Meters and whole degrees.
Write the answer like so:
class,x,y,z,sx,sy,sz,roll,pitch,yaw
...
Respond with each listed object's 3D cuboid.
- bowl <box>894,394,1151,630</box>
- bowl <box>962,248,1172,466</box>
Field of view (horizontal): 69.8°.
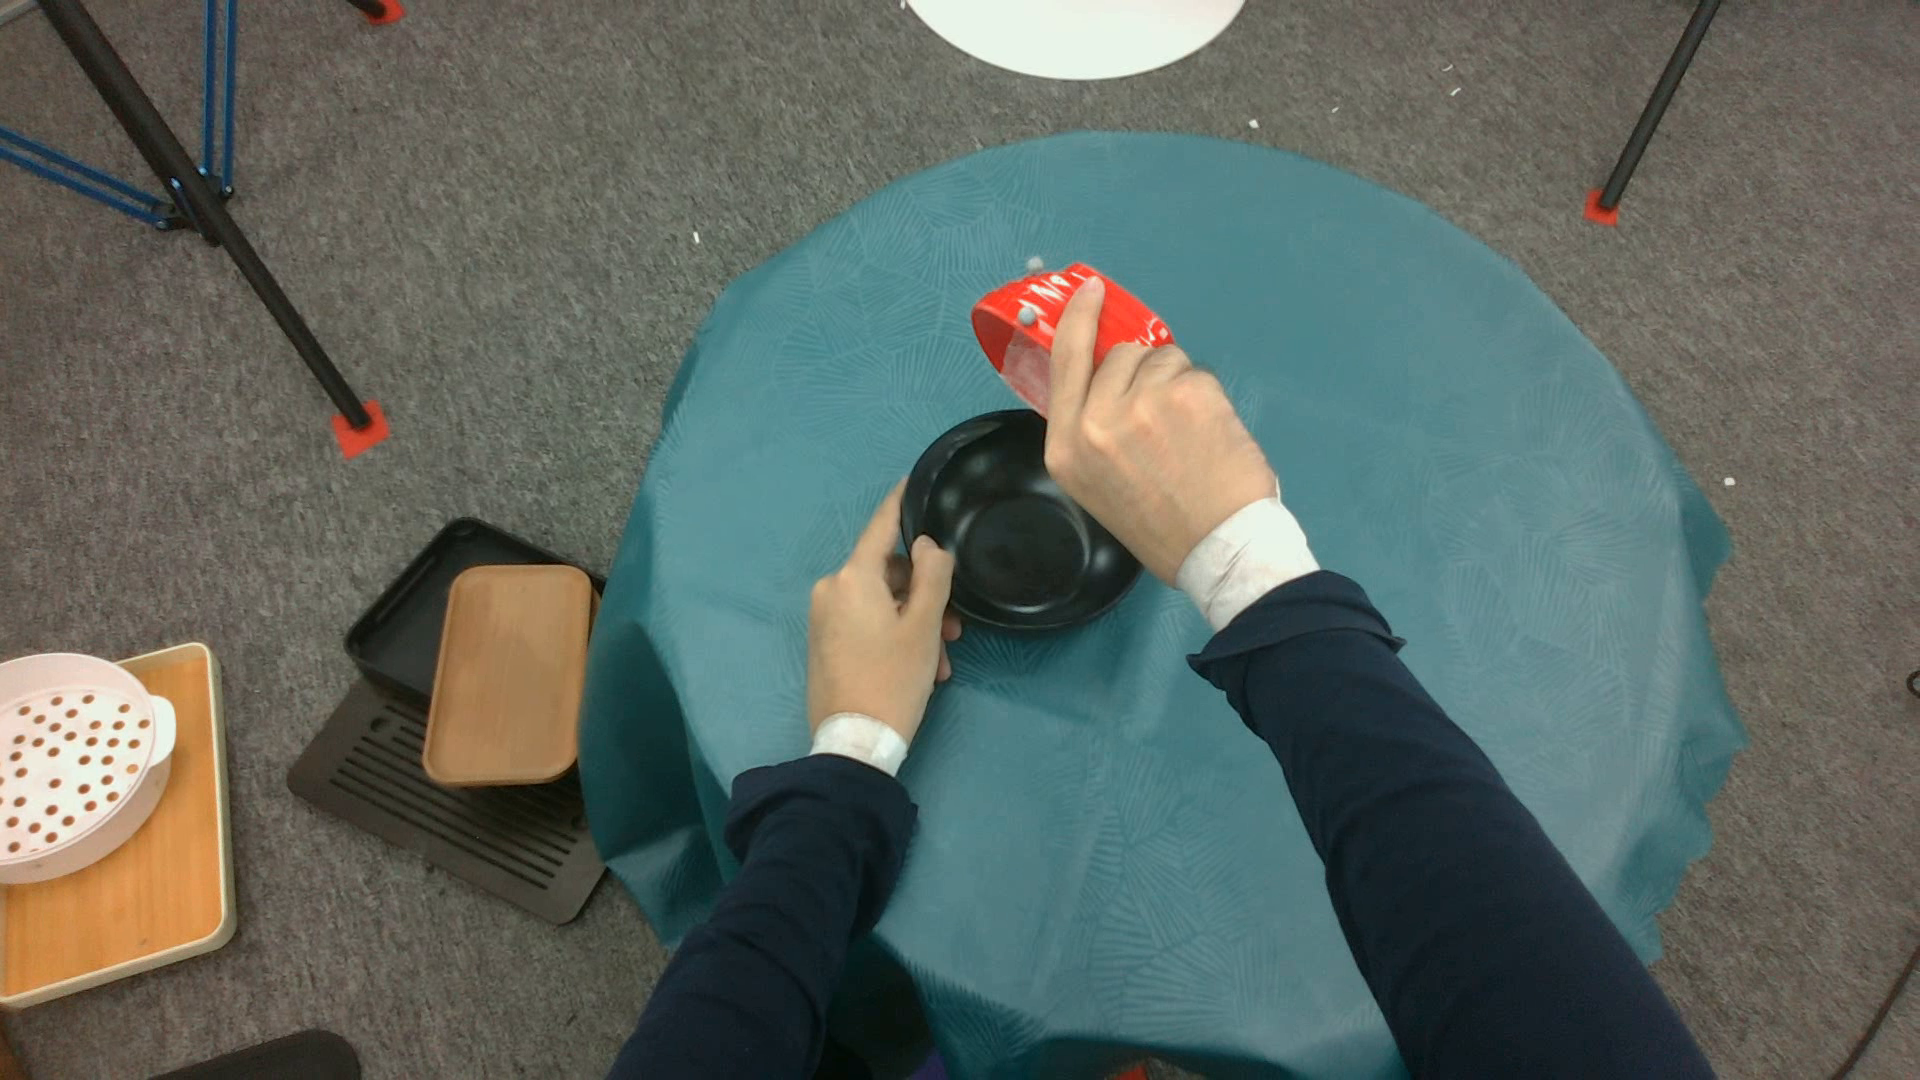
class,x,y,z,sx,sy,sz,roll,pitch,yaw
bowl,0.033,-0.009,0.762,0.140,0.049,0.140,1,65,-1
bowl,0.059,-0.093,0.654,0.119,0.118,0.051,40,84,19
